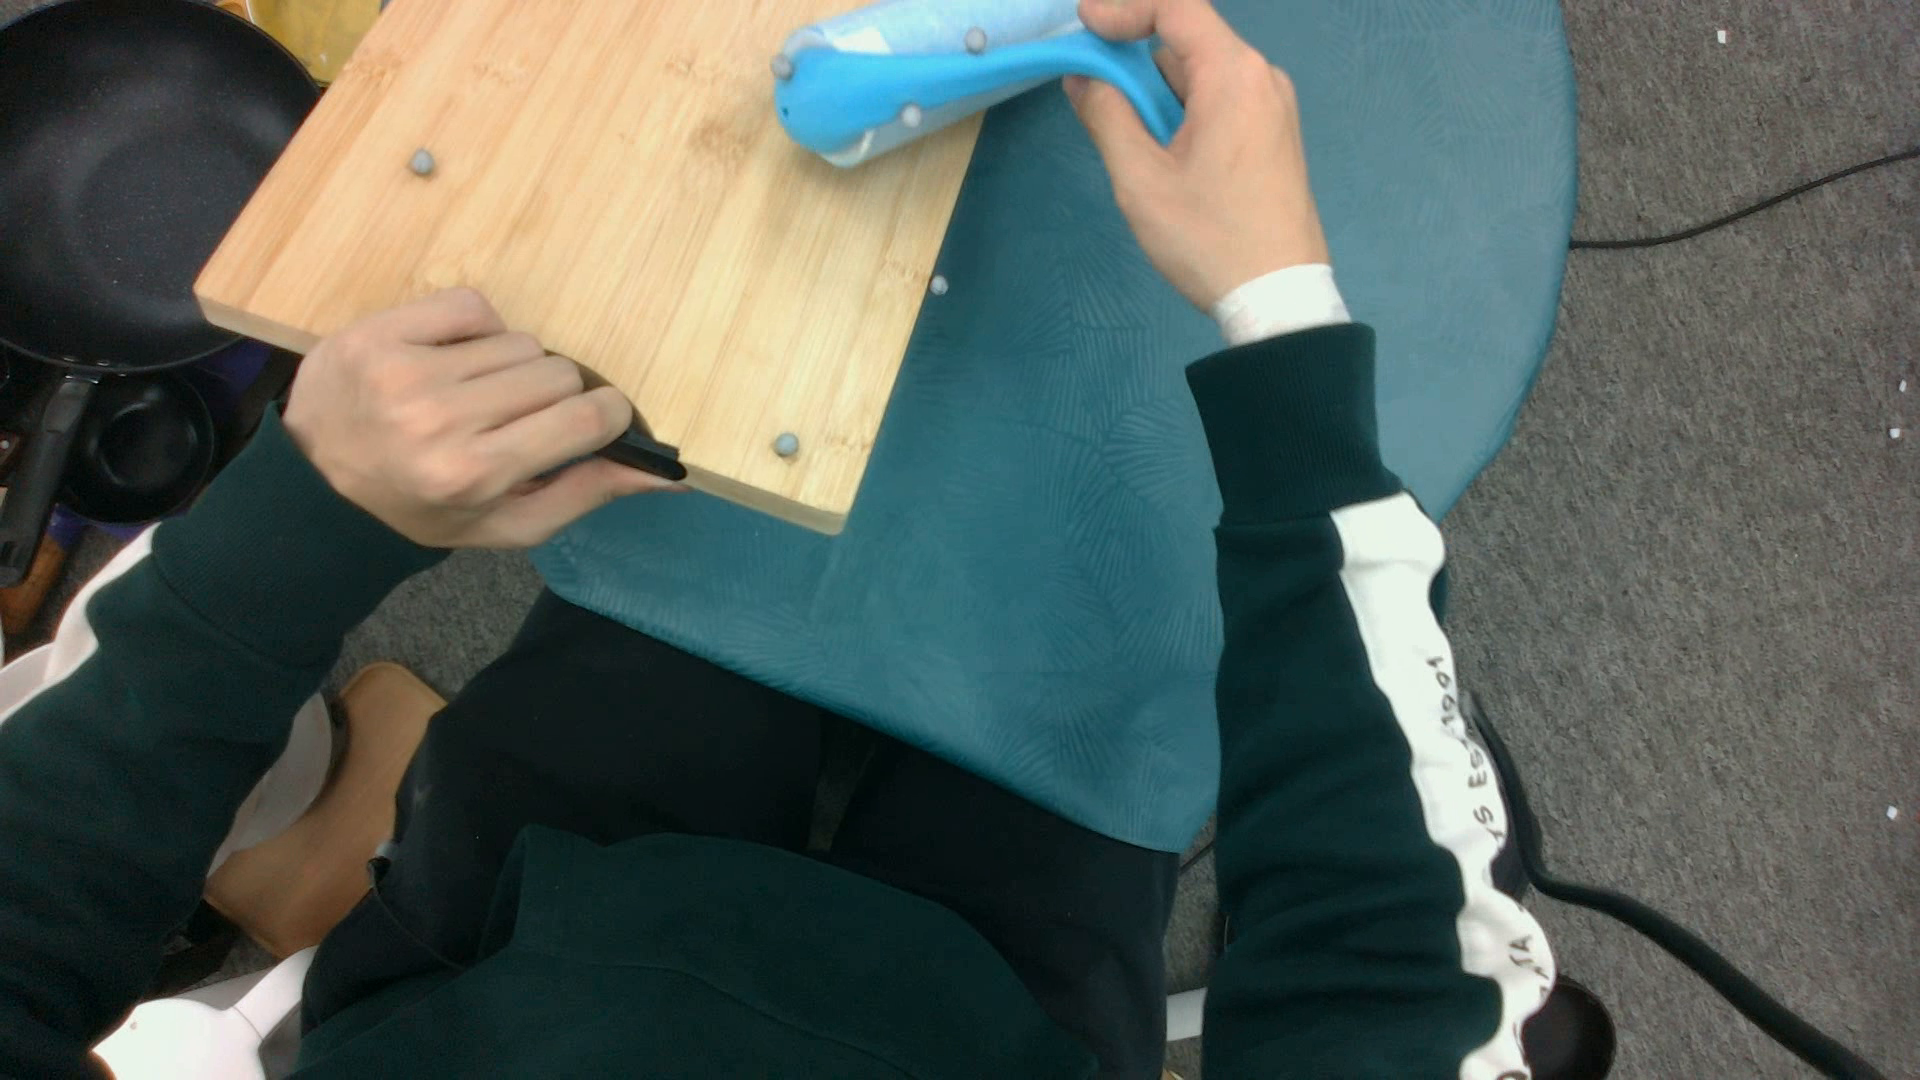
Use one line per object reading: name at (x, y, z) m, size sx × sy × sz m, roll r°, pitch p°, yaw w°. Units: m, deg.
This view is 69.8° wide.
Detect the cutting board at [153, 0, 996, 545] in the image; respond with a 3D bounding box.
cutting board at (-0.127, -0.181, 0.578) m, size 0.251 × 0.023 × 0.350 m, roll 17°, pitch 60°, yaw -6°

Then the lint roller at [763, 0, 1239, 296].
lint roller at (0.052, -0.178, 0.572) m, size 0.180 × 0.067 × 0.230 m, roll 41°, pitch 56°, yaw 19°
